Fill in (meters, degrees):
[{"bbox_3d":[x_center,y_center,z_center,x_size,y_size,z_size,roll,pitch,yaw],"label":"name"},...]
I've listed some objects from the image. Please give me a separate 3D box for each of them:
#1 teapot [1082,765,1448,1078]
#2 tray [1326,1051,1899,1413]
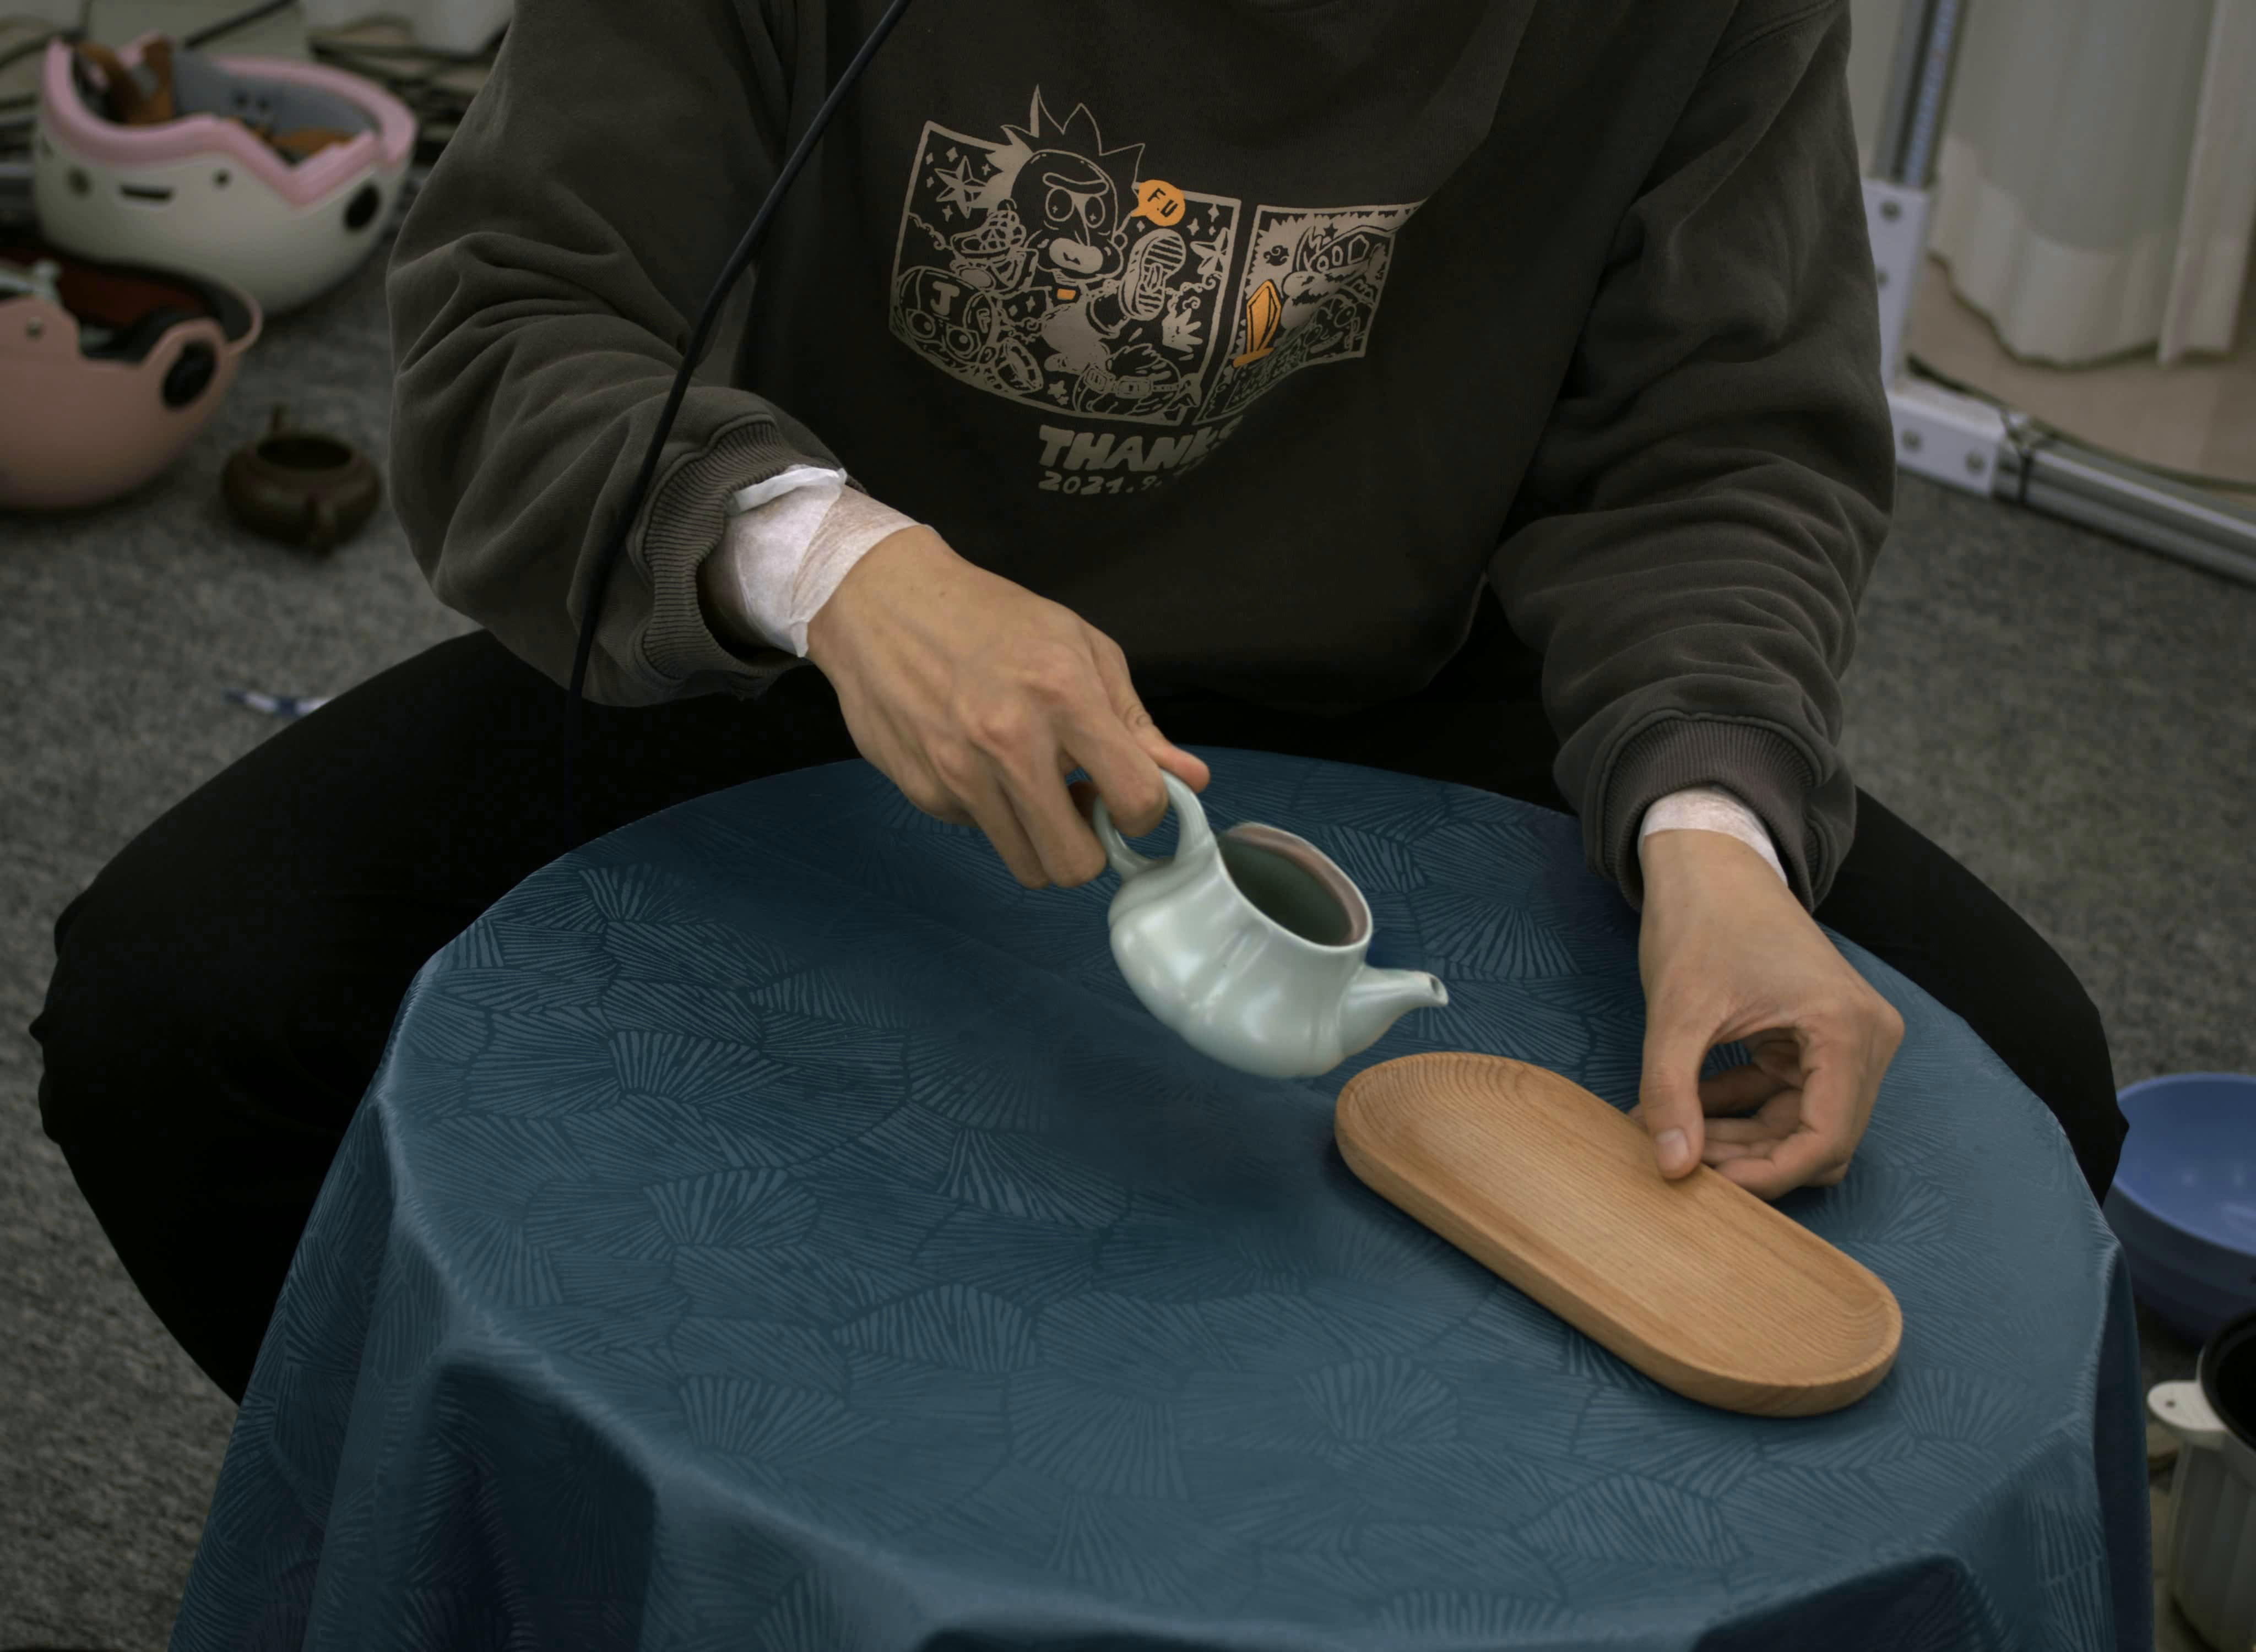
[{"bbox_3d":[0.038,0.035,1.794,0.137,0.061,0.096,37,30,2],"label":"teapot"},{"bbox_3d":[0.161,0.135,1.798,0.101,0.020,0.233,-16,33,-38],"label":"tray"}]
